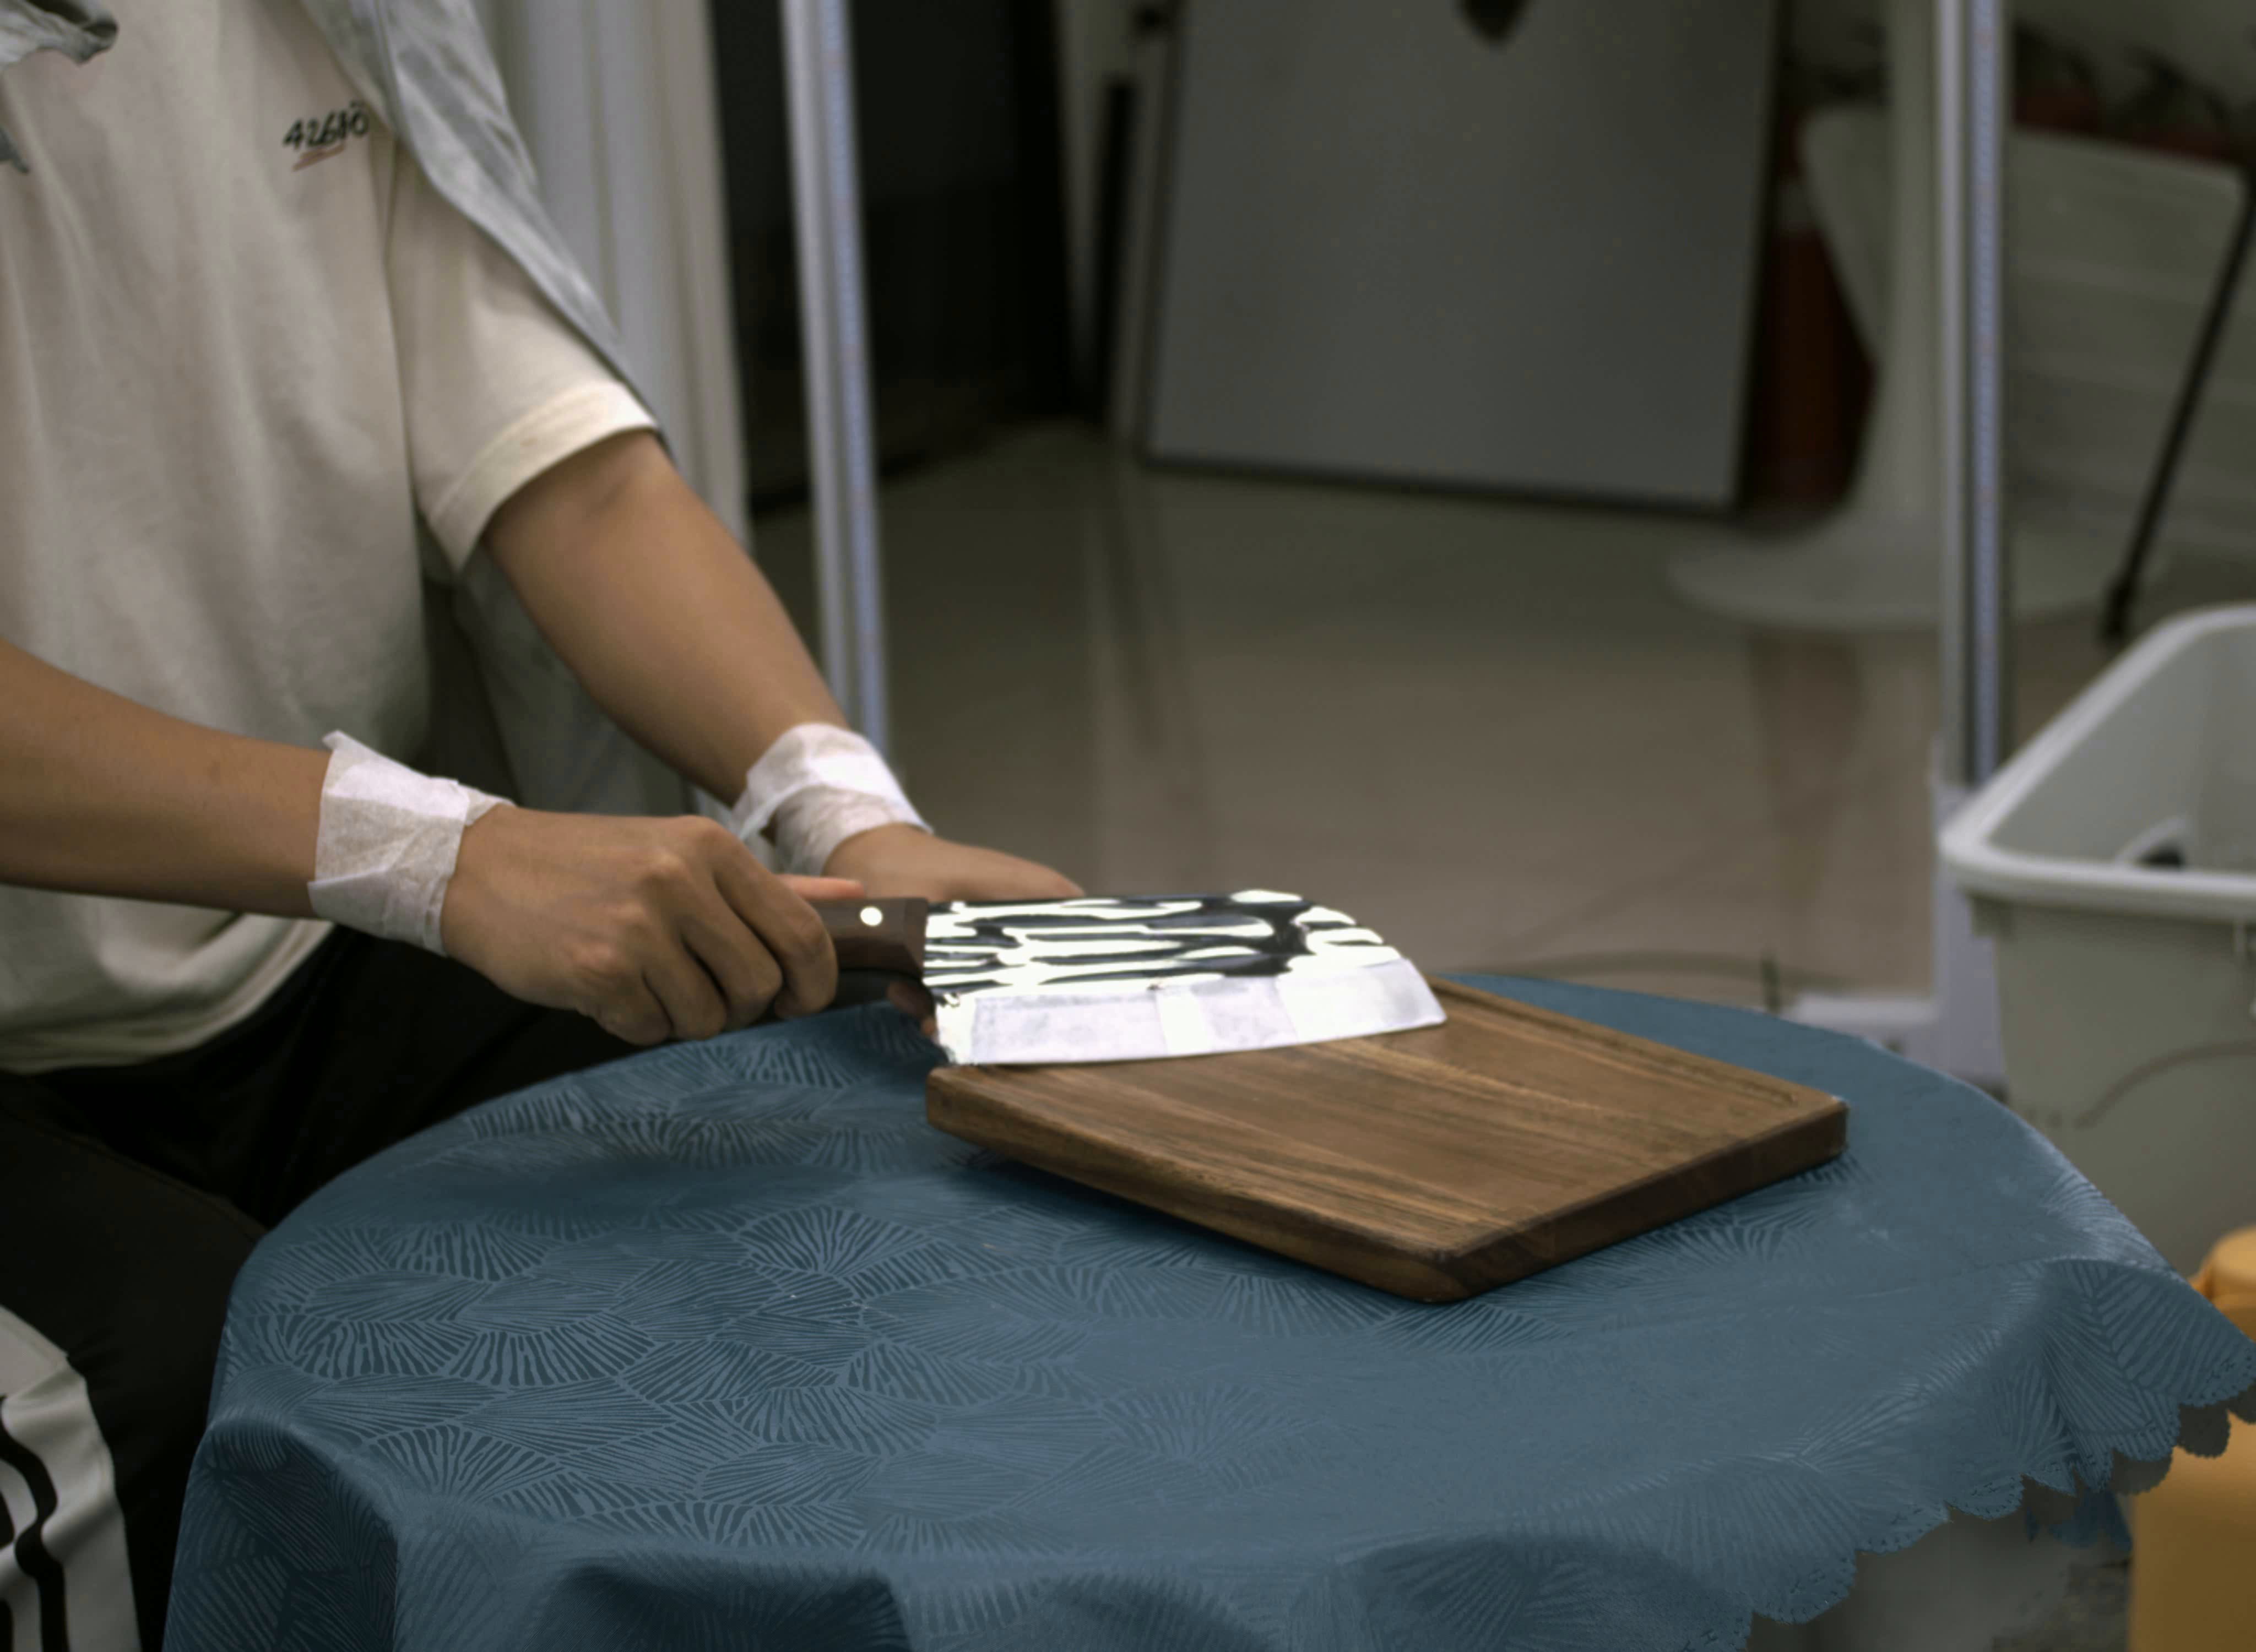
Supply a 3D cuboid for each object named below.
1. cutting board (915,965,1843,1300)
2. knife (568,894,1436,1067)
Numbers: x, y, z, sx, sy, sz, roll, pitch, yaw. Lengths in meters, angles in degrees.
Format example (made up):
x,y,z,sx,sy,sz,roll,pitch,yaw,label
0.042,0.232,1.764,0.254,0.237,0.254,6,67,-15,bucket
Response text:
x,y,z,sx,sy,sz,roll,pitch,yaw,label
0.050,0.087,1.822,0.197,0.023,0.355,-16,20,-39,cutting board
-0.041,0.053,1.842,0.294,0.024,0.069,-1,54,-9,knife
